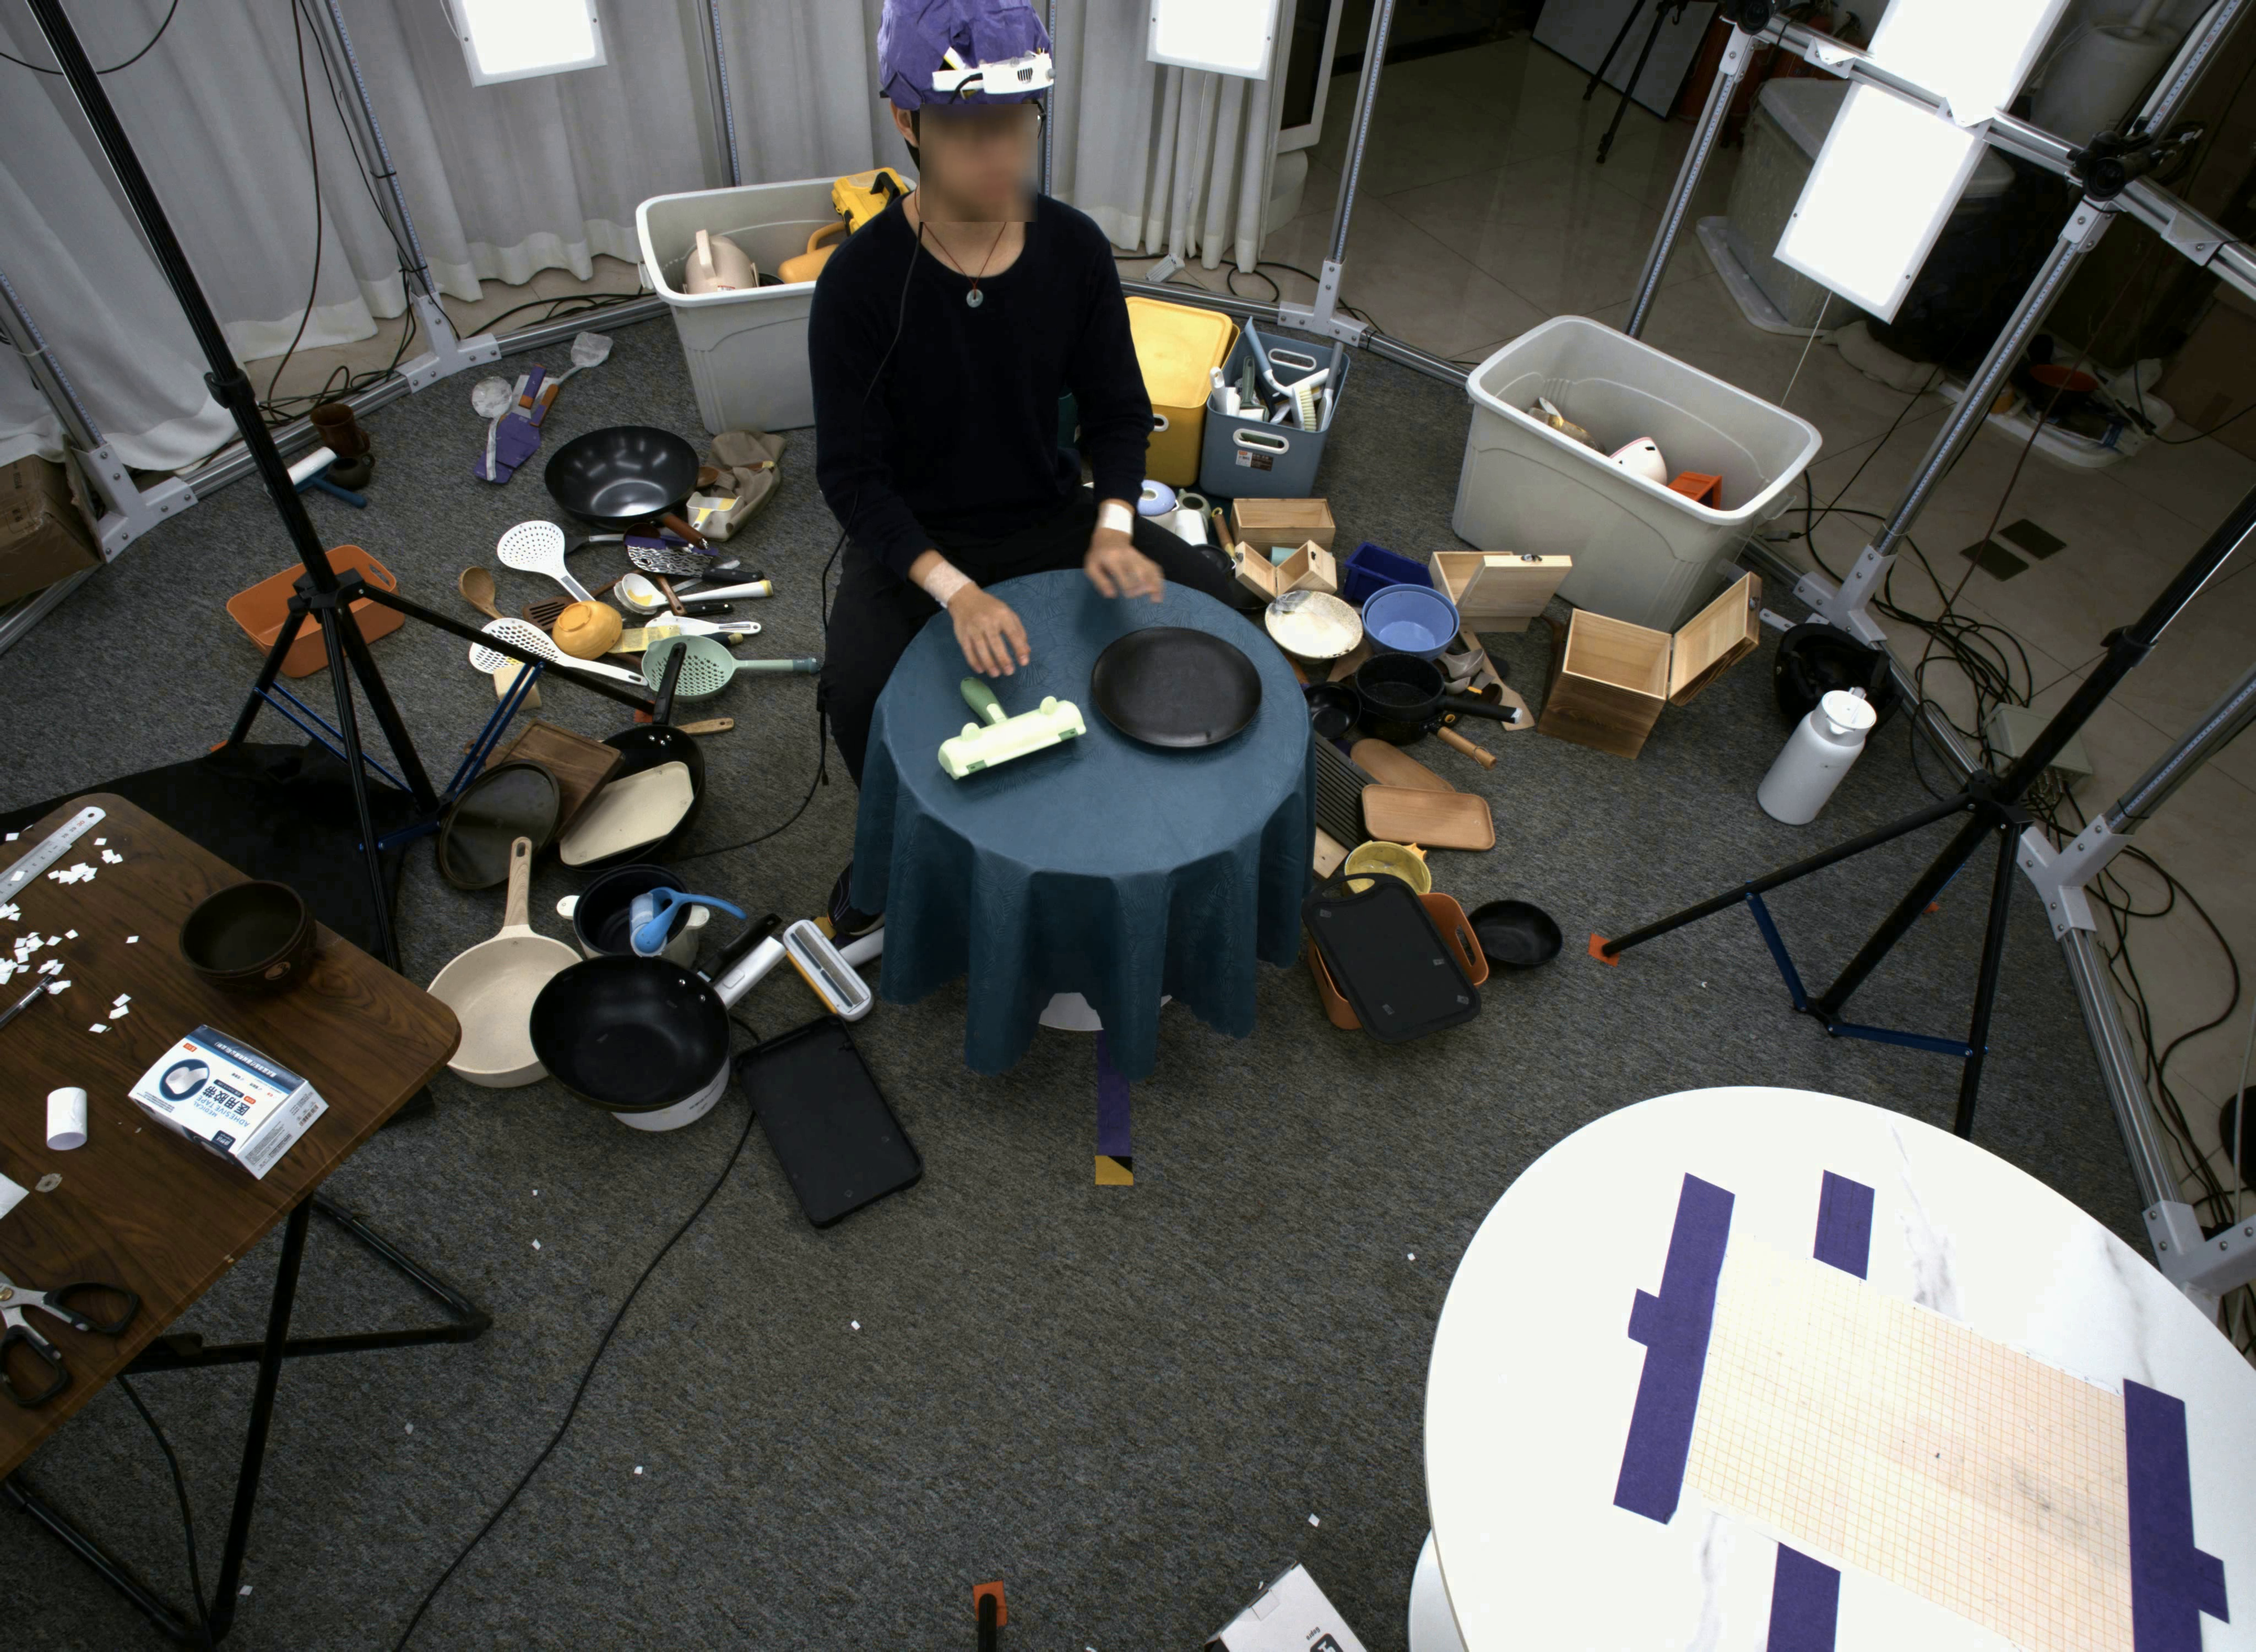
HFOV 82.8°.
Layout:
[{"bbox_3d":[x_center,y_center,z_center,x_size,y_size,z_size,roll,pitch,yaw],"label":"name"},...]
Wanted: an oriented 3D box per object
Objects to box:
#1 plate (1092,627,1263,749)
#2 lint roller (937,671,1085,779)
[{"bbox_3d":[0.070,-0.195,1.827,0.244,0.023,0.250,2,49,-2],"label":"plate"},{"bbox_3d":[-0.183,-0.164,1.742,0.199,0.080,0.187,-21,60,-22],"label":"lint roller"}]
